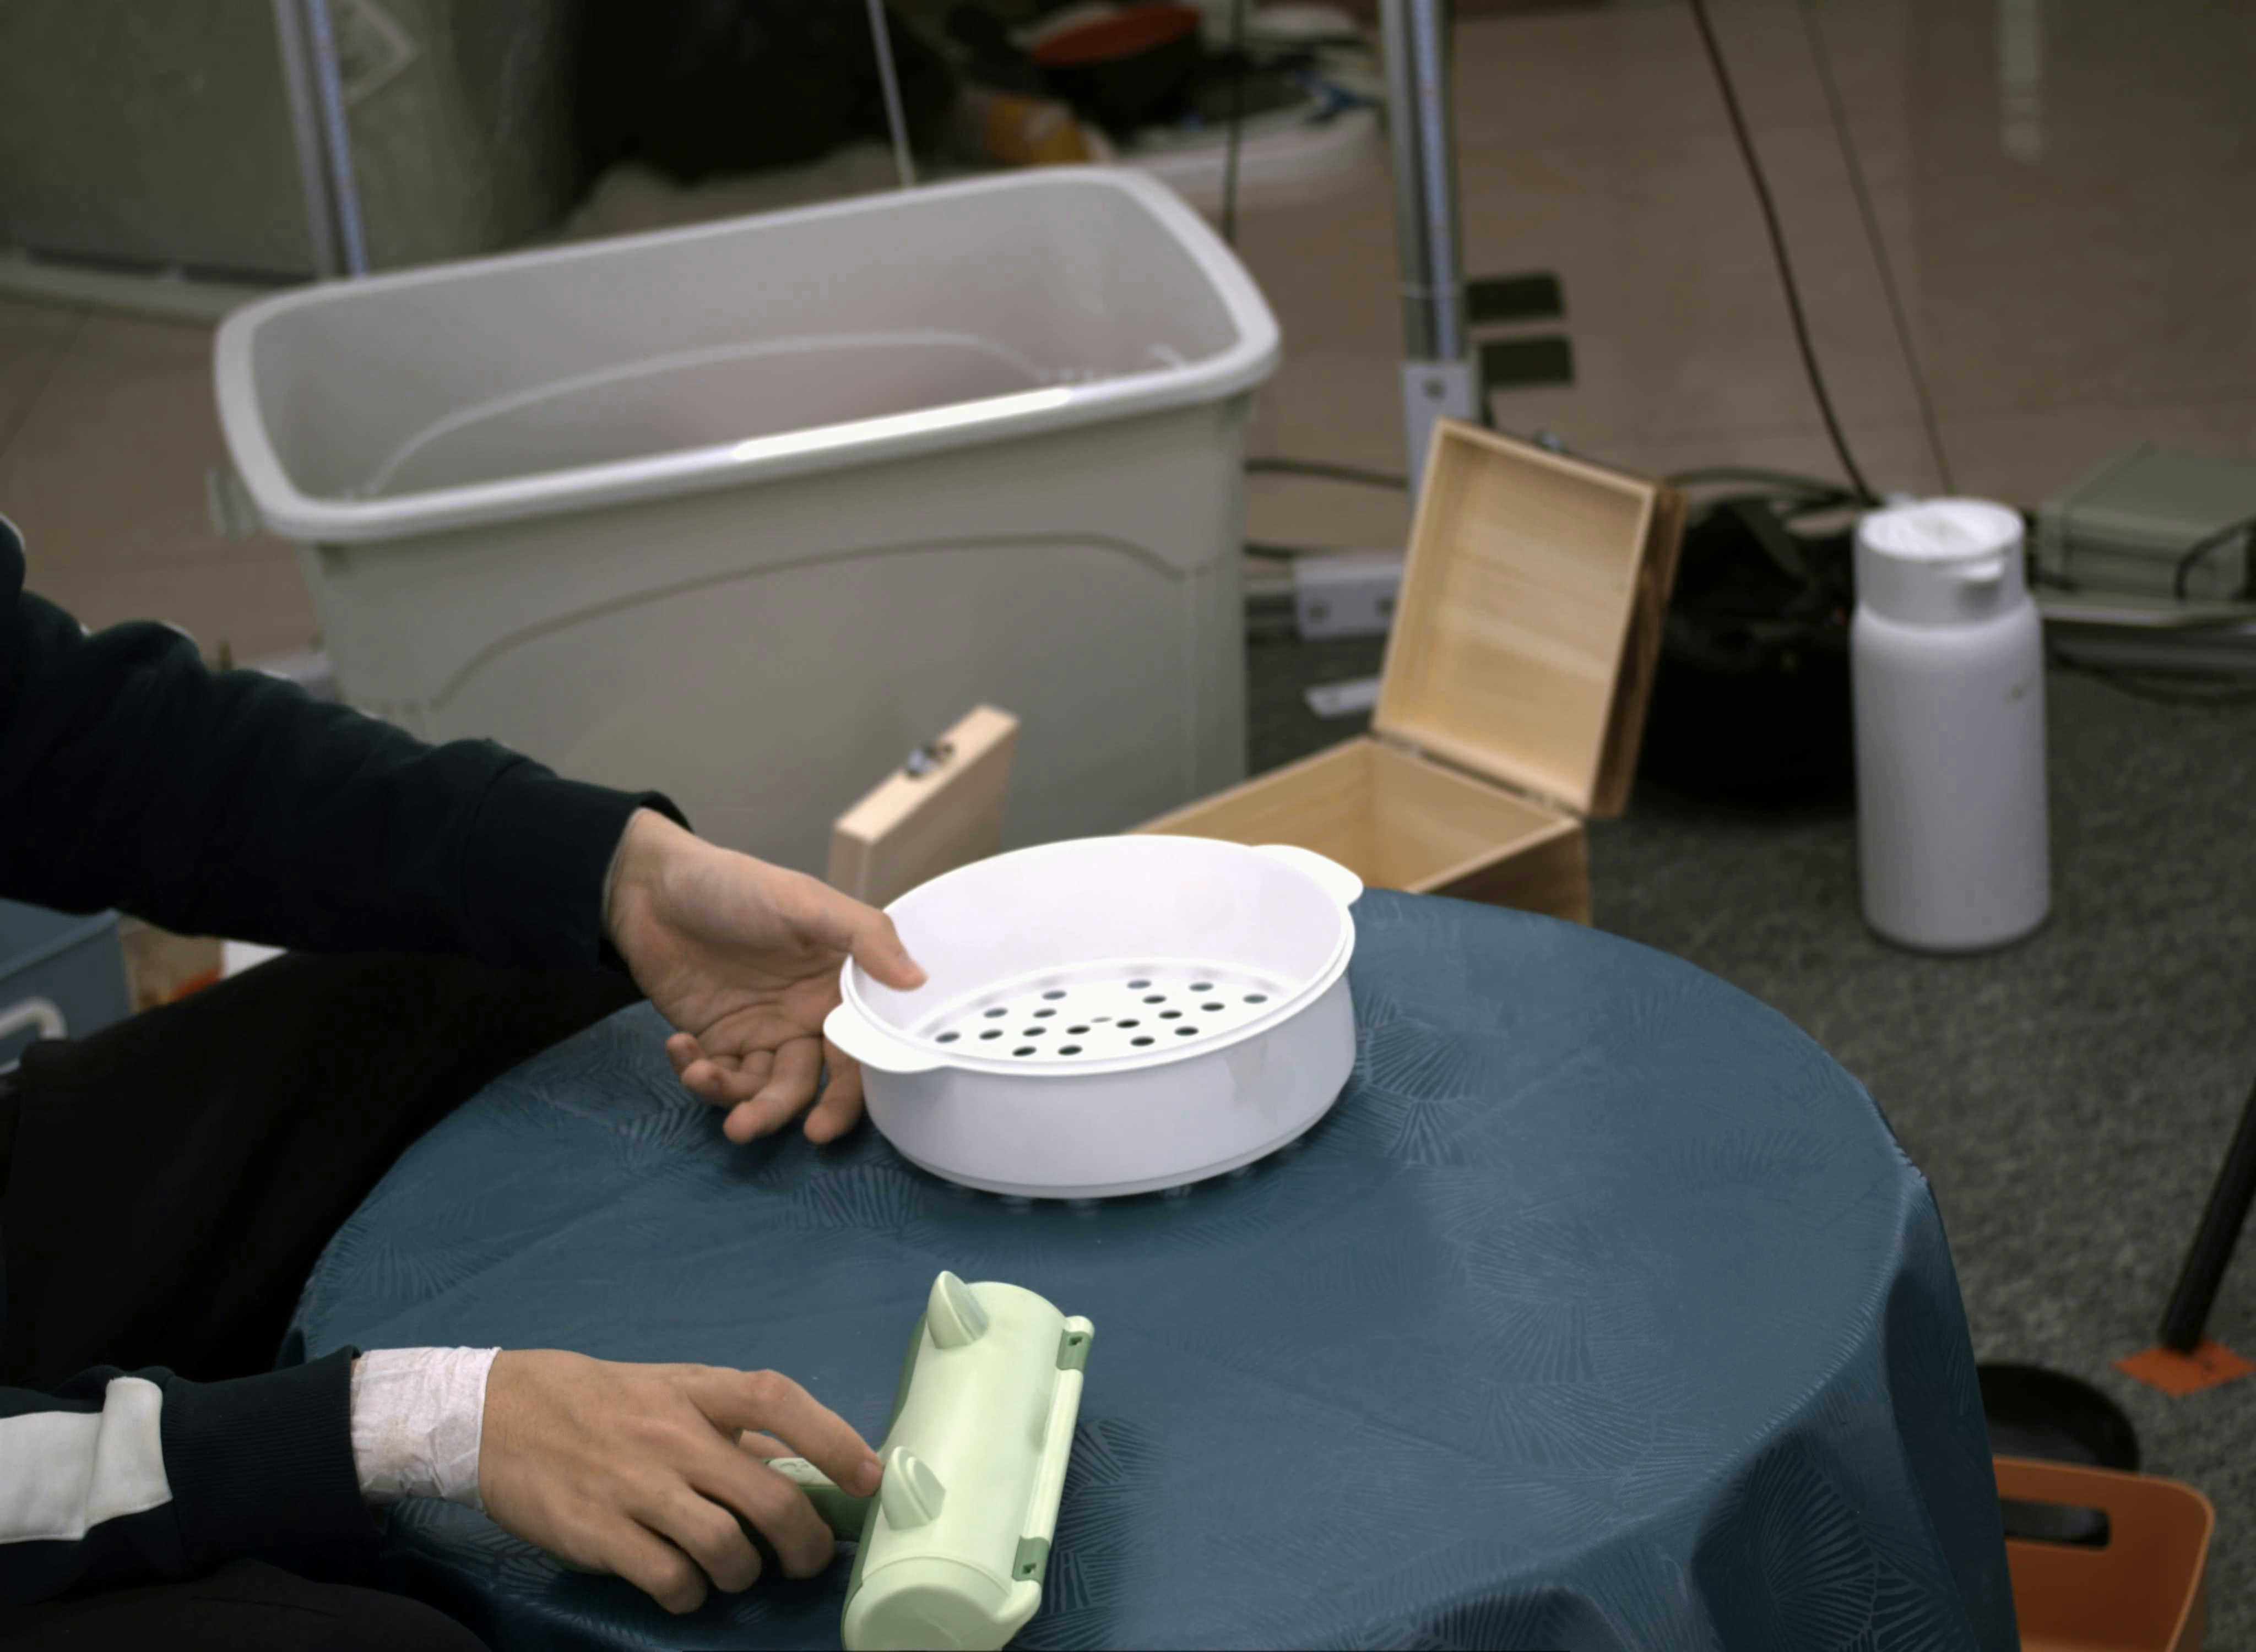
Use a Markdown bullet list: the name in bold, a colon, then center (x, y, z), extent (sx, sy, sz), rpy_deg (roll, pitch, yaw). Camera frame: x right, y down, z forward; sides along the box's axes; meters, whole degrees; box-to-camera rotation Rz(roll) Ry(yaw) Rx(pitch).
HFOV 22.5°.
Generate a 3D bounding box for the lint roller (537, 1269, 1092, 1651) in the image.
- **lint roller**: center (-0.112, 0.214, 1.918), extent (0.183, 0.083, 0.195), rpy_deg (1, 26, 6)

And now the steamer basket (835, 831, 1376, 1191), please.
- **steamer basket**: center (-0.005, 0.072, 2.205), extent (0.229, 0.070, 0.200), rpy_deg (-20, 29, -29)
